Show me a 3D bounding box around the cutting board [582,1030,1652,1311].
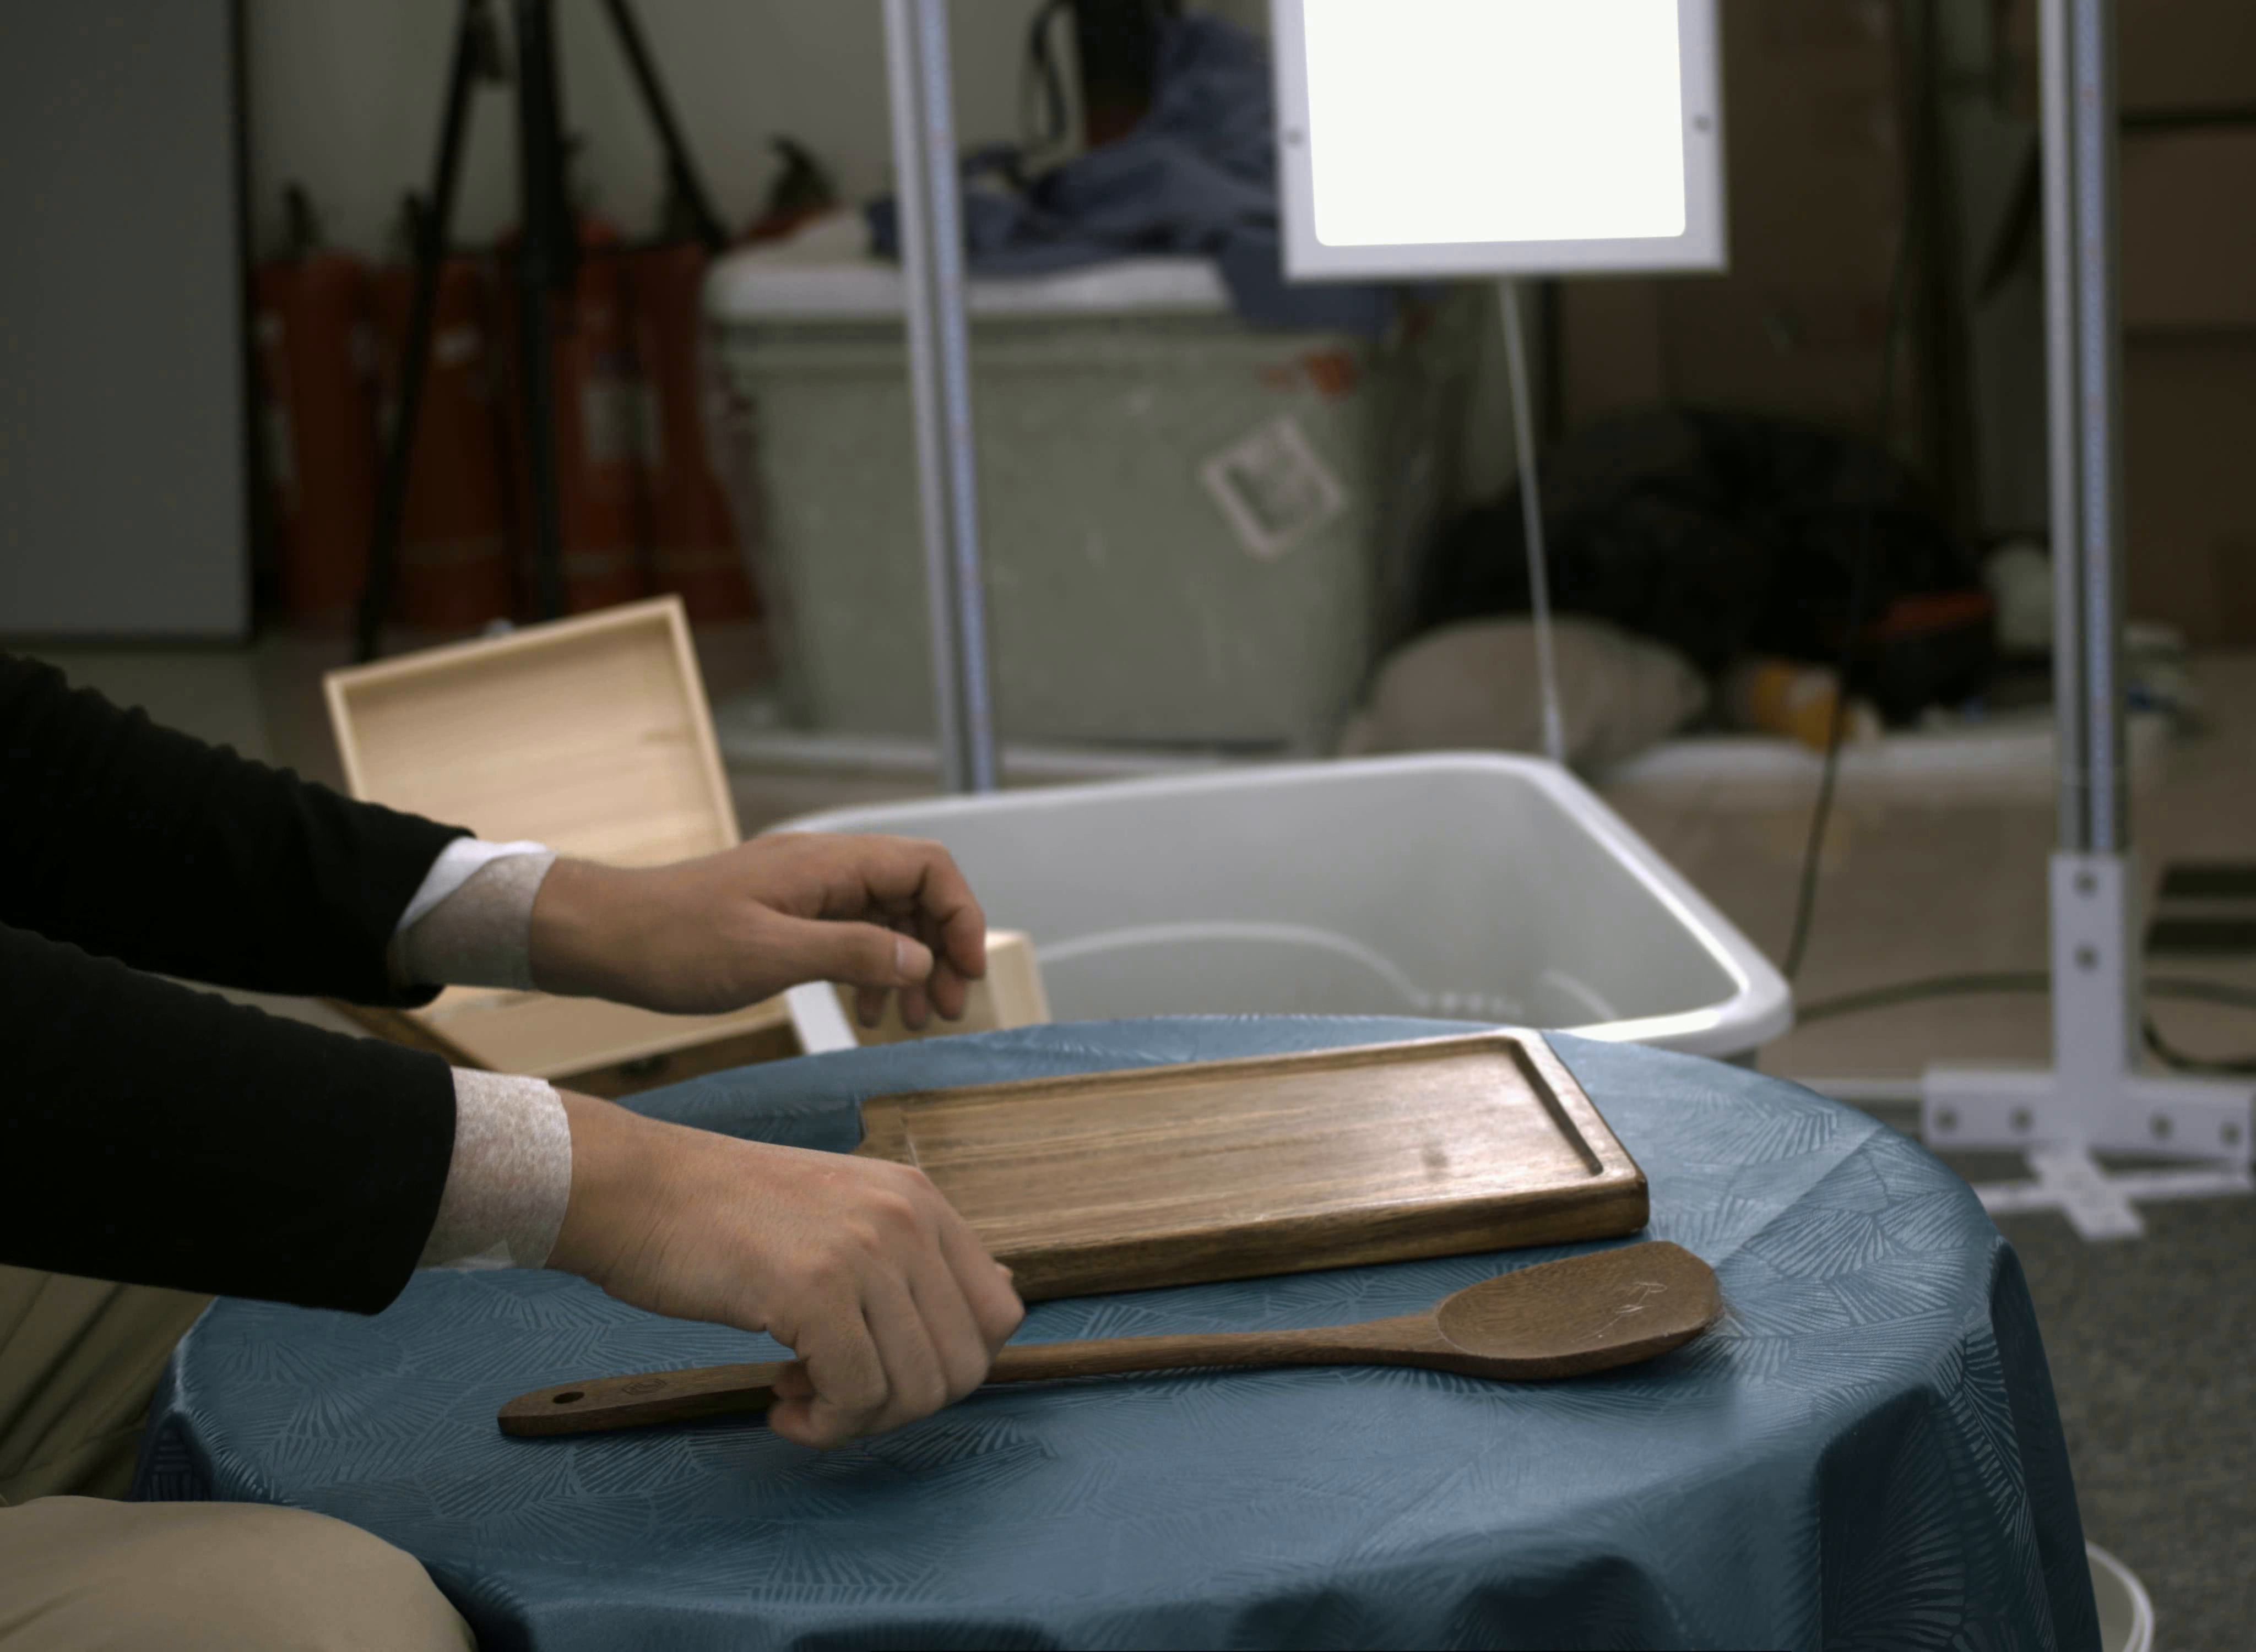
[{"bbox_3d":[-0.011,0.120,1.885,0.350,0.023,0.201,-6,14,-4],"label":"cutting board"}]

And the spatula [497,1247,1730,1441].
[{"bbox_3d":[-0.005,0.165,1.712,0.385,0.016,0.096,-5,13,1],"label":"spatula"}]
